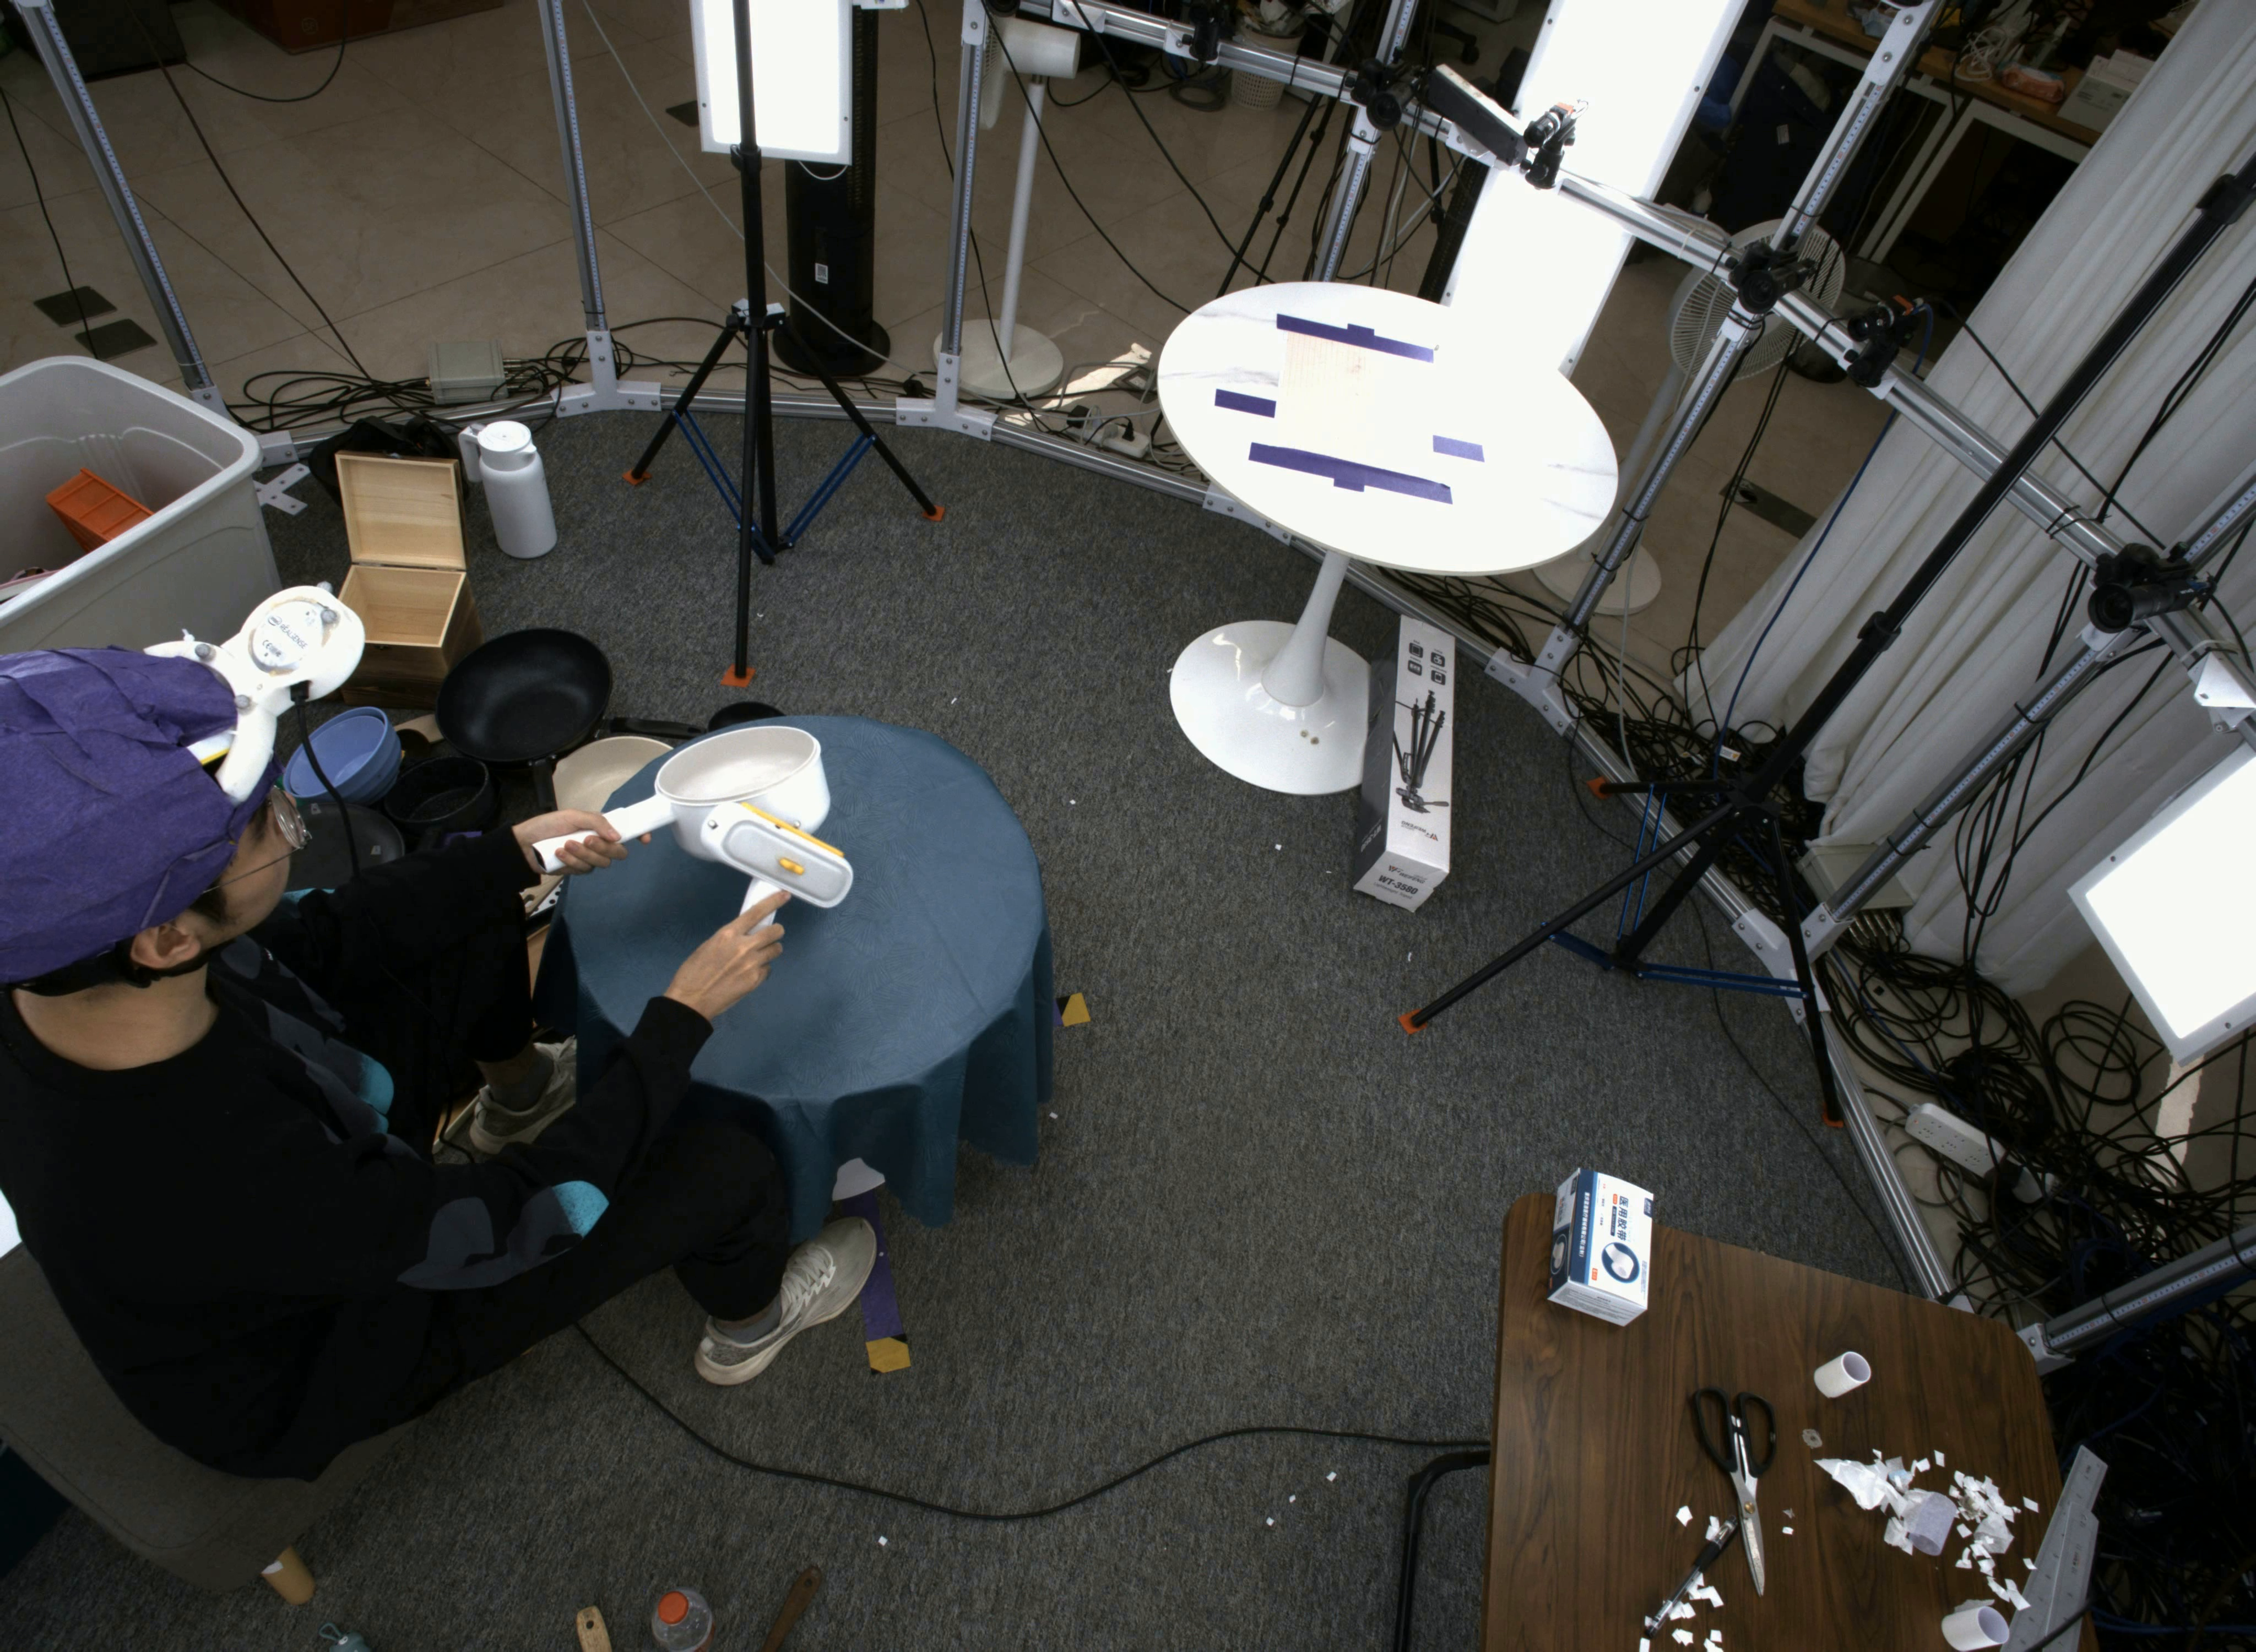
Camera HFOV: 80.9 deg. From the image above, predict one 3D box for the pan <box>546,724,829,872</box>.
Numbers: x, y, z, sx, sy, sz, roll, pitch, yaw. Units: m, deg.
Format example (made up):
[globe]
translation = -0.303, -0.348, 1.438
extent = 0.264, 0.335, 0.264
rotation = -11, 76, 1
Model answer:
[pan]
translation = -0.526, -0.008, 1.544
extent = 0.356, 0.105, 0.193
rotation = -28, 36, -32

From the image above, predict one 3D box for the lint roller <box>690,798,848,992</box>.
[lint roller]
translation = -0.416, 0.086, 1.447
extent = 0.071, 0.199, 0.193
rotation = 18, 83, 41
